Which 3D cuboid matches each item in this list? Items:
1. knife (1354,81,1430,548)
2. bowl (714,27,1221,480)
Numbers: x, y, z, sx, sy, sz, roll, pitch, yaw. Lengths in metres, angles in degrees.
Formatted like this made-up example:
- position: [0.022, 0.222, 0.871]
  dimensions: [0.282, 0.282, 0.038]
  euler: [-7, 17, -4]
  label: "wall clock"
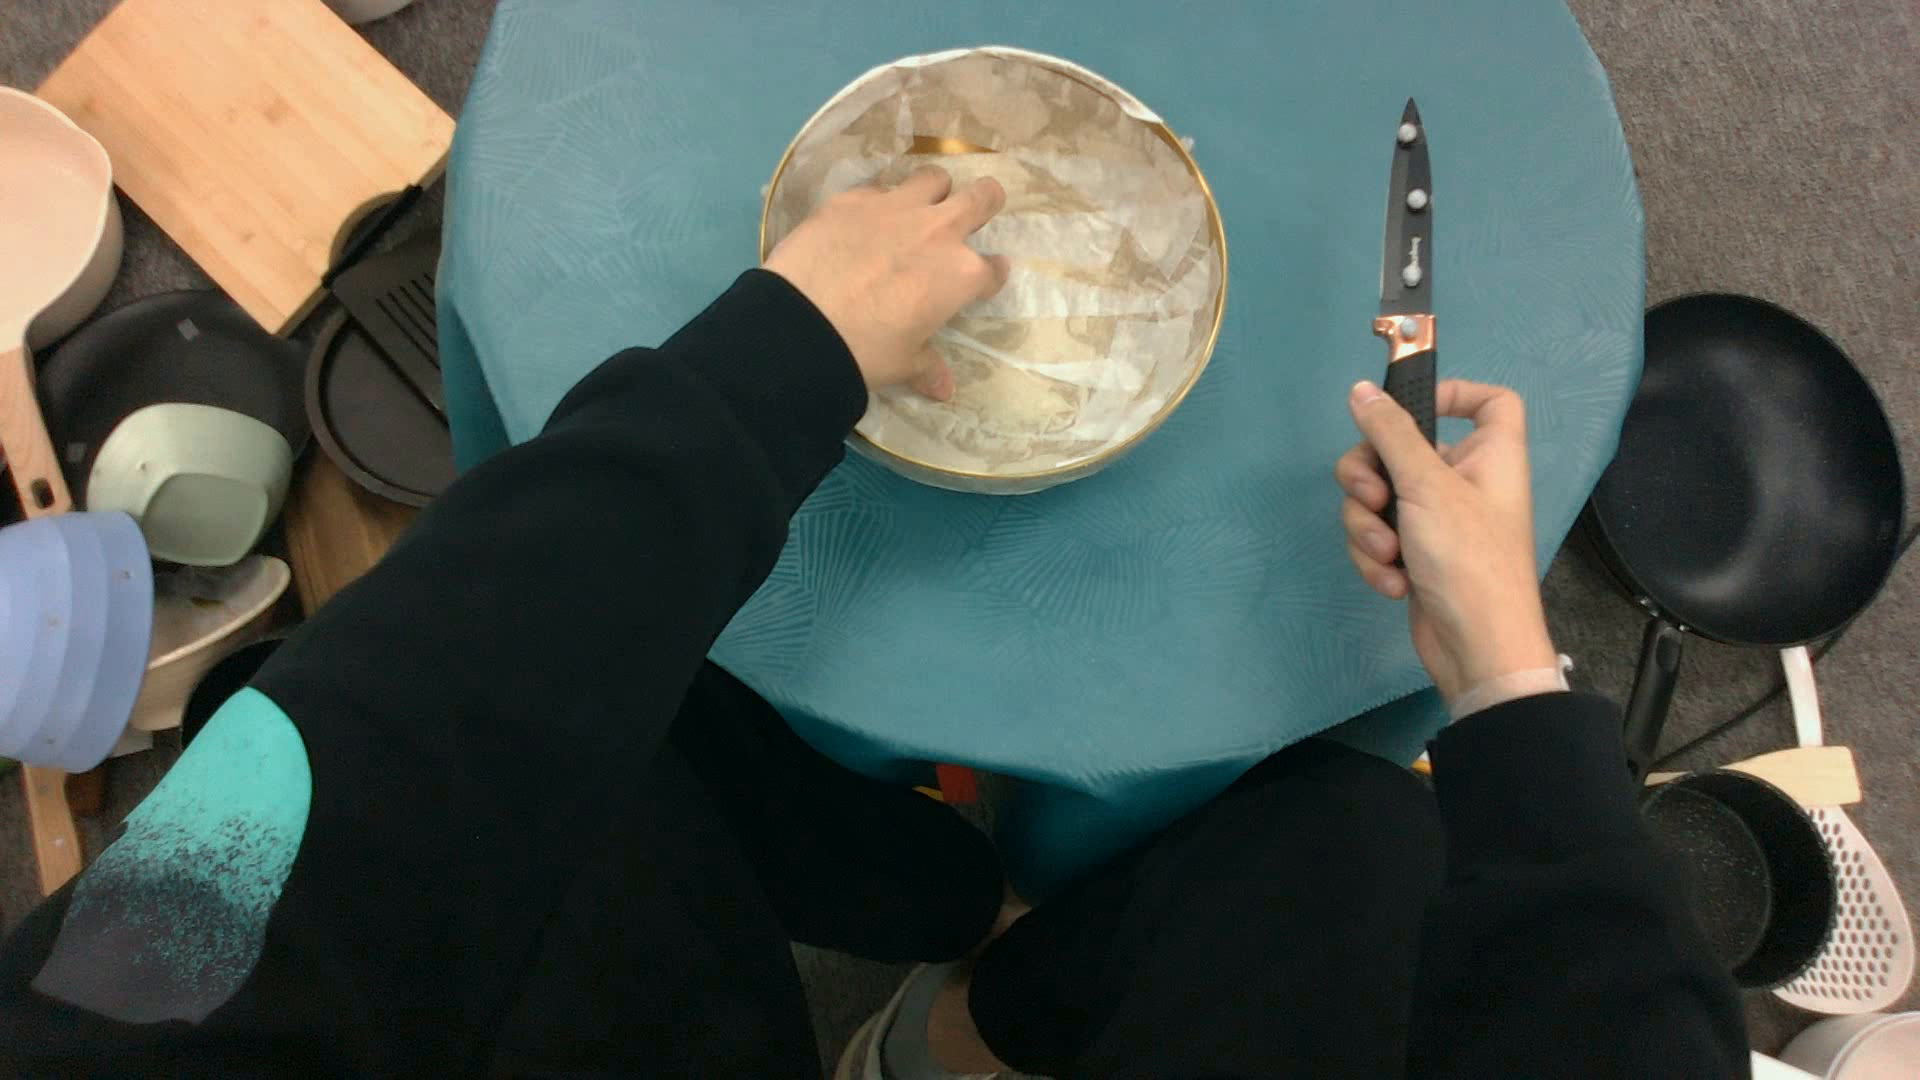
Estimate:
- position: [0.188, -0.104, 0.601]
  dimensions: [0.026, 0.017, 0.226]
  euler: [-2, 72, 15]
  label: "knife"
- position: [0.003, -0.113, 0.616]
  dimensions: [0.215, 0.094, 0.215]
  euler: [2, 73, -6]
  label: "bowl"
